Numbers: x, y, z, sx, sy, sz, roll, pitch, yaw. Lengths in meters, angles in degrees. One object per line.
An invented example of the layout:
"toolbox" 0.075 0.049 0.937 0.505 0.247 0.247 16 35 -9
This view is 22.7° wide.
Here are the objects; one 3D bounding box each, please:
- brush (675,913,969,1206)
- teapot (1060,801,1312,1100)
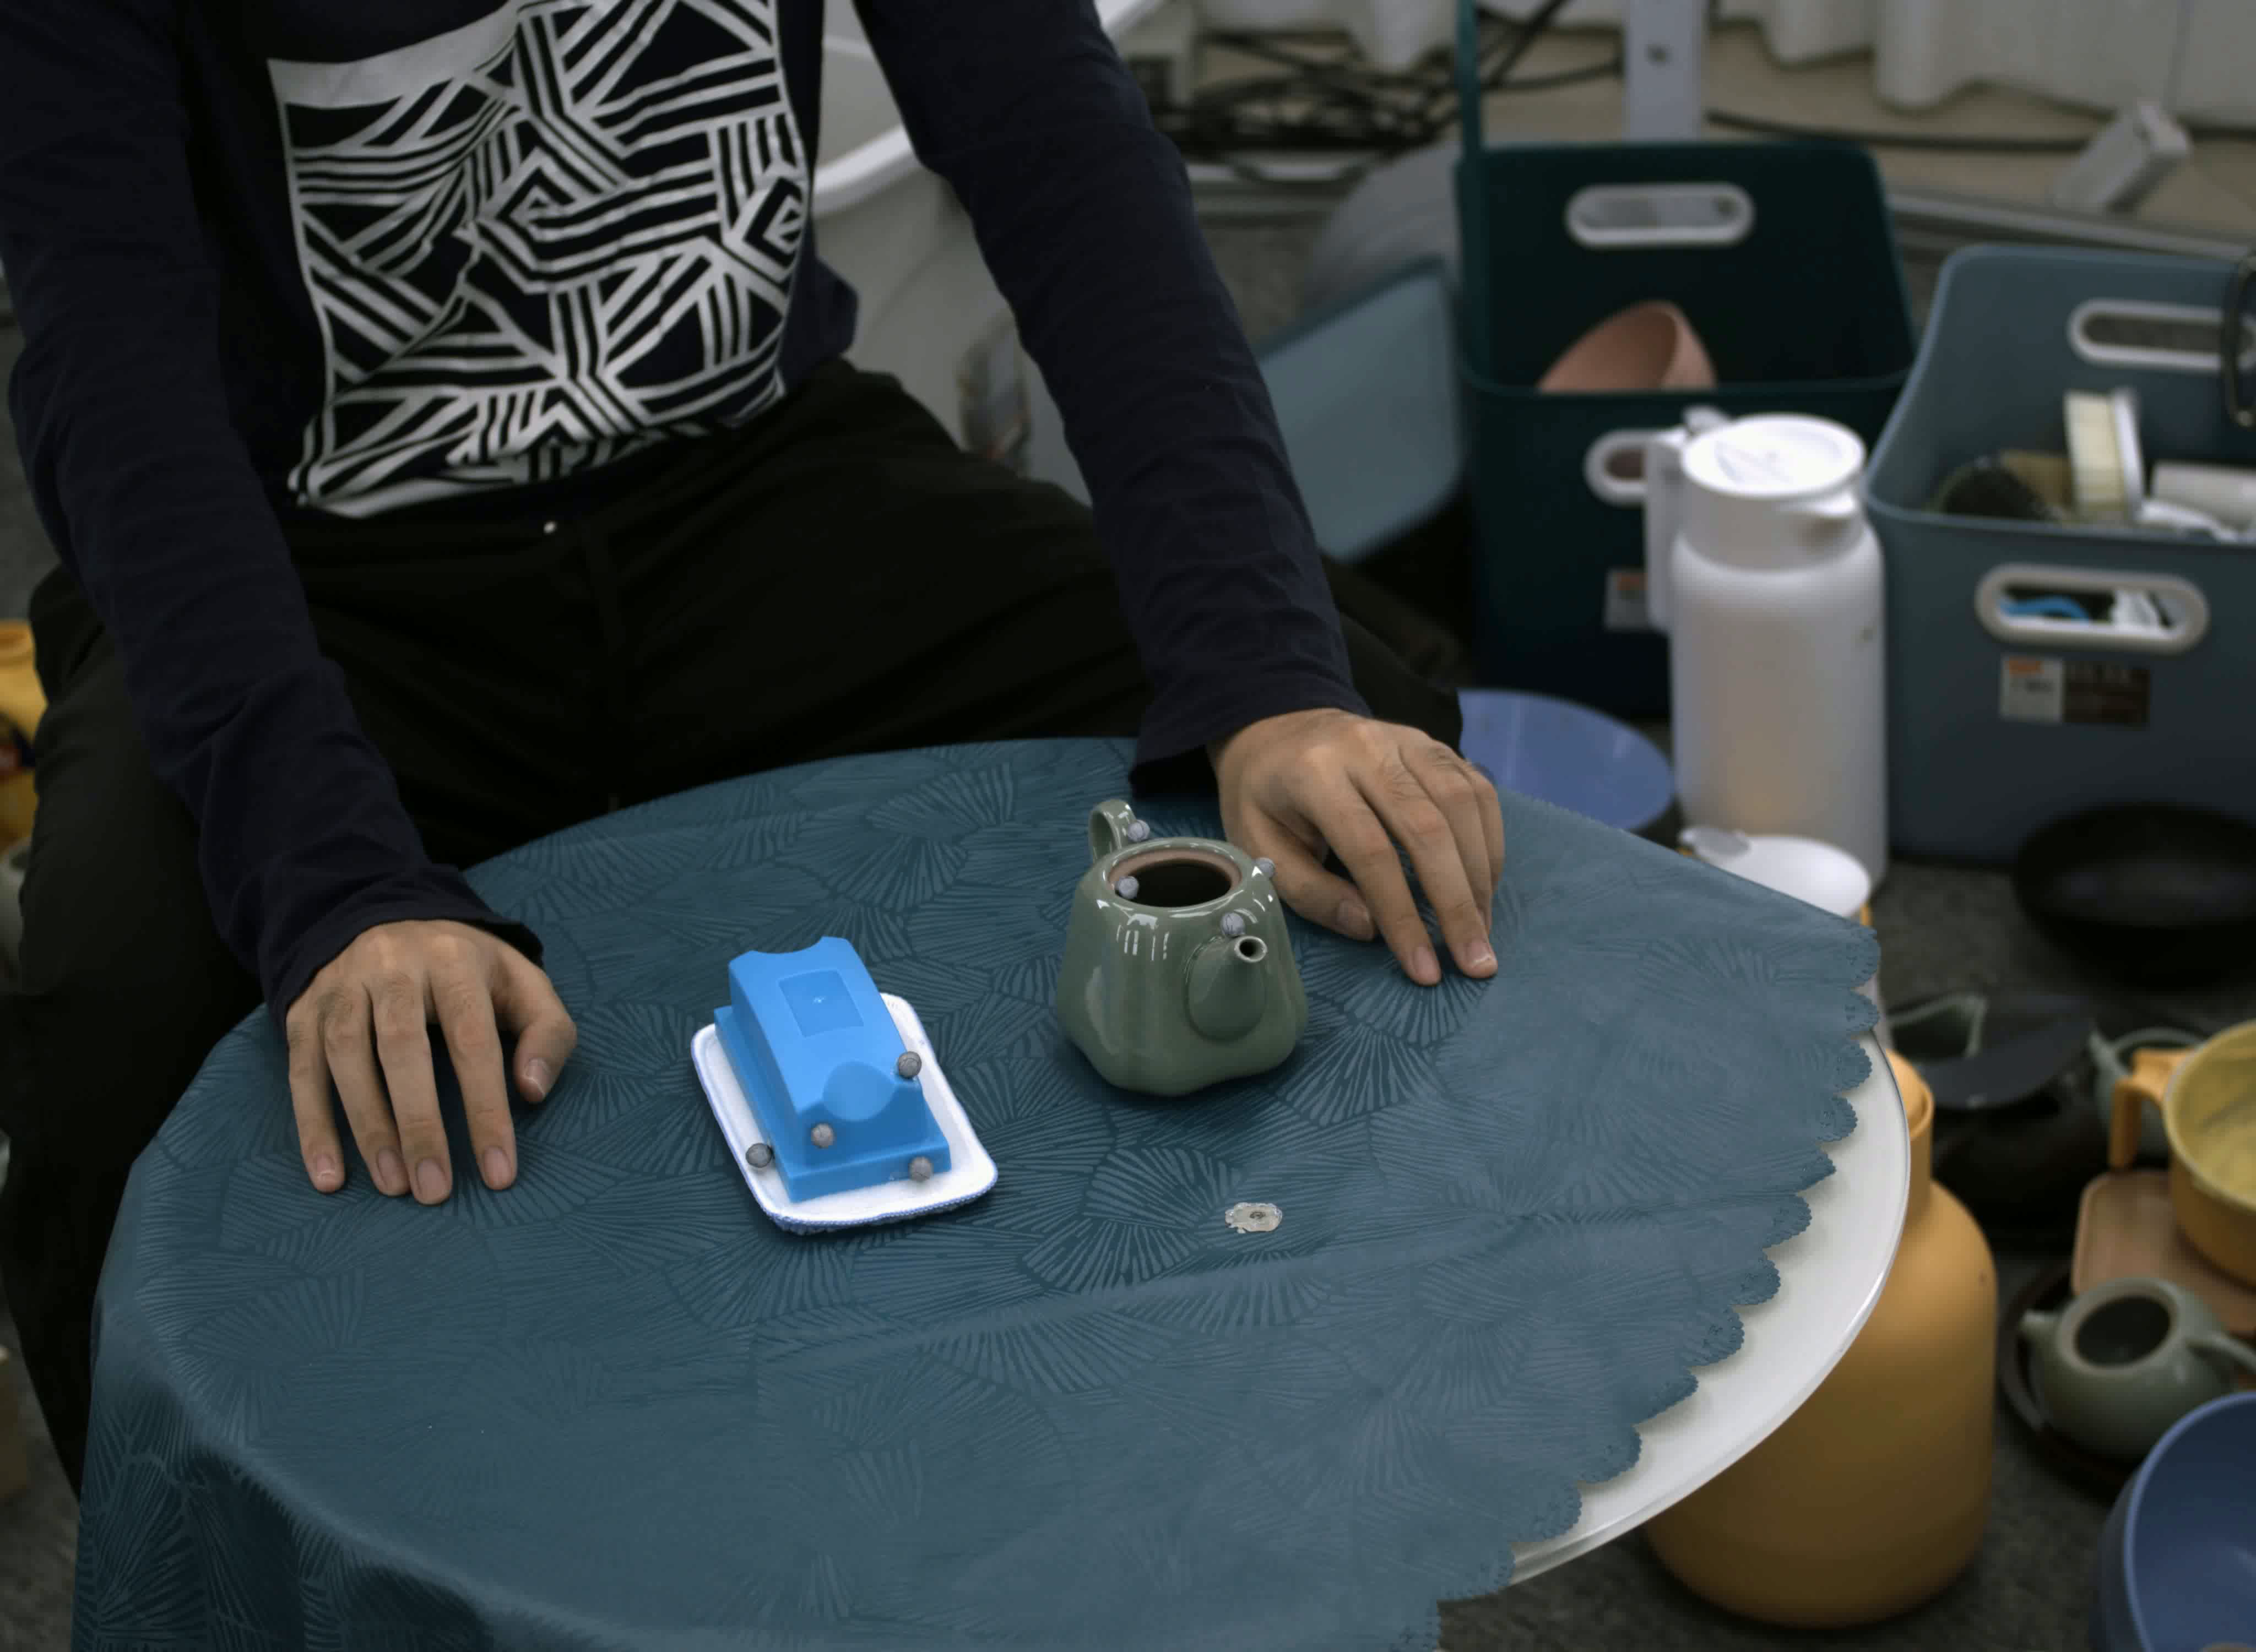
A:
"brush" -0.103 0.074 1.895 0.084 0.055 0.146 -6 30 -13
"teapot" 0.019 0.046 1.925 0.080 0.074 0.133 -14 28 -20
